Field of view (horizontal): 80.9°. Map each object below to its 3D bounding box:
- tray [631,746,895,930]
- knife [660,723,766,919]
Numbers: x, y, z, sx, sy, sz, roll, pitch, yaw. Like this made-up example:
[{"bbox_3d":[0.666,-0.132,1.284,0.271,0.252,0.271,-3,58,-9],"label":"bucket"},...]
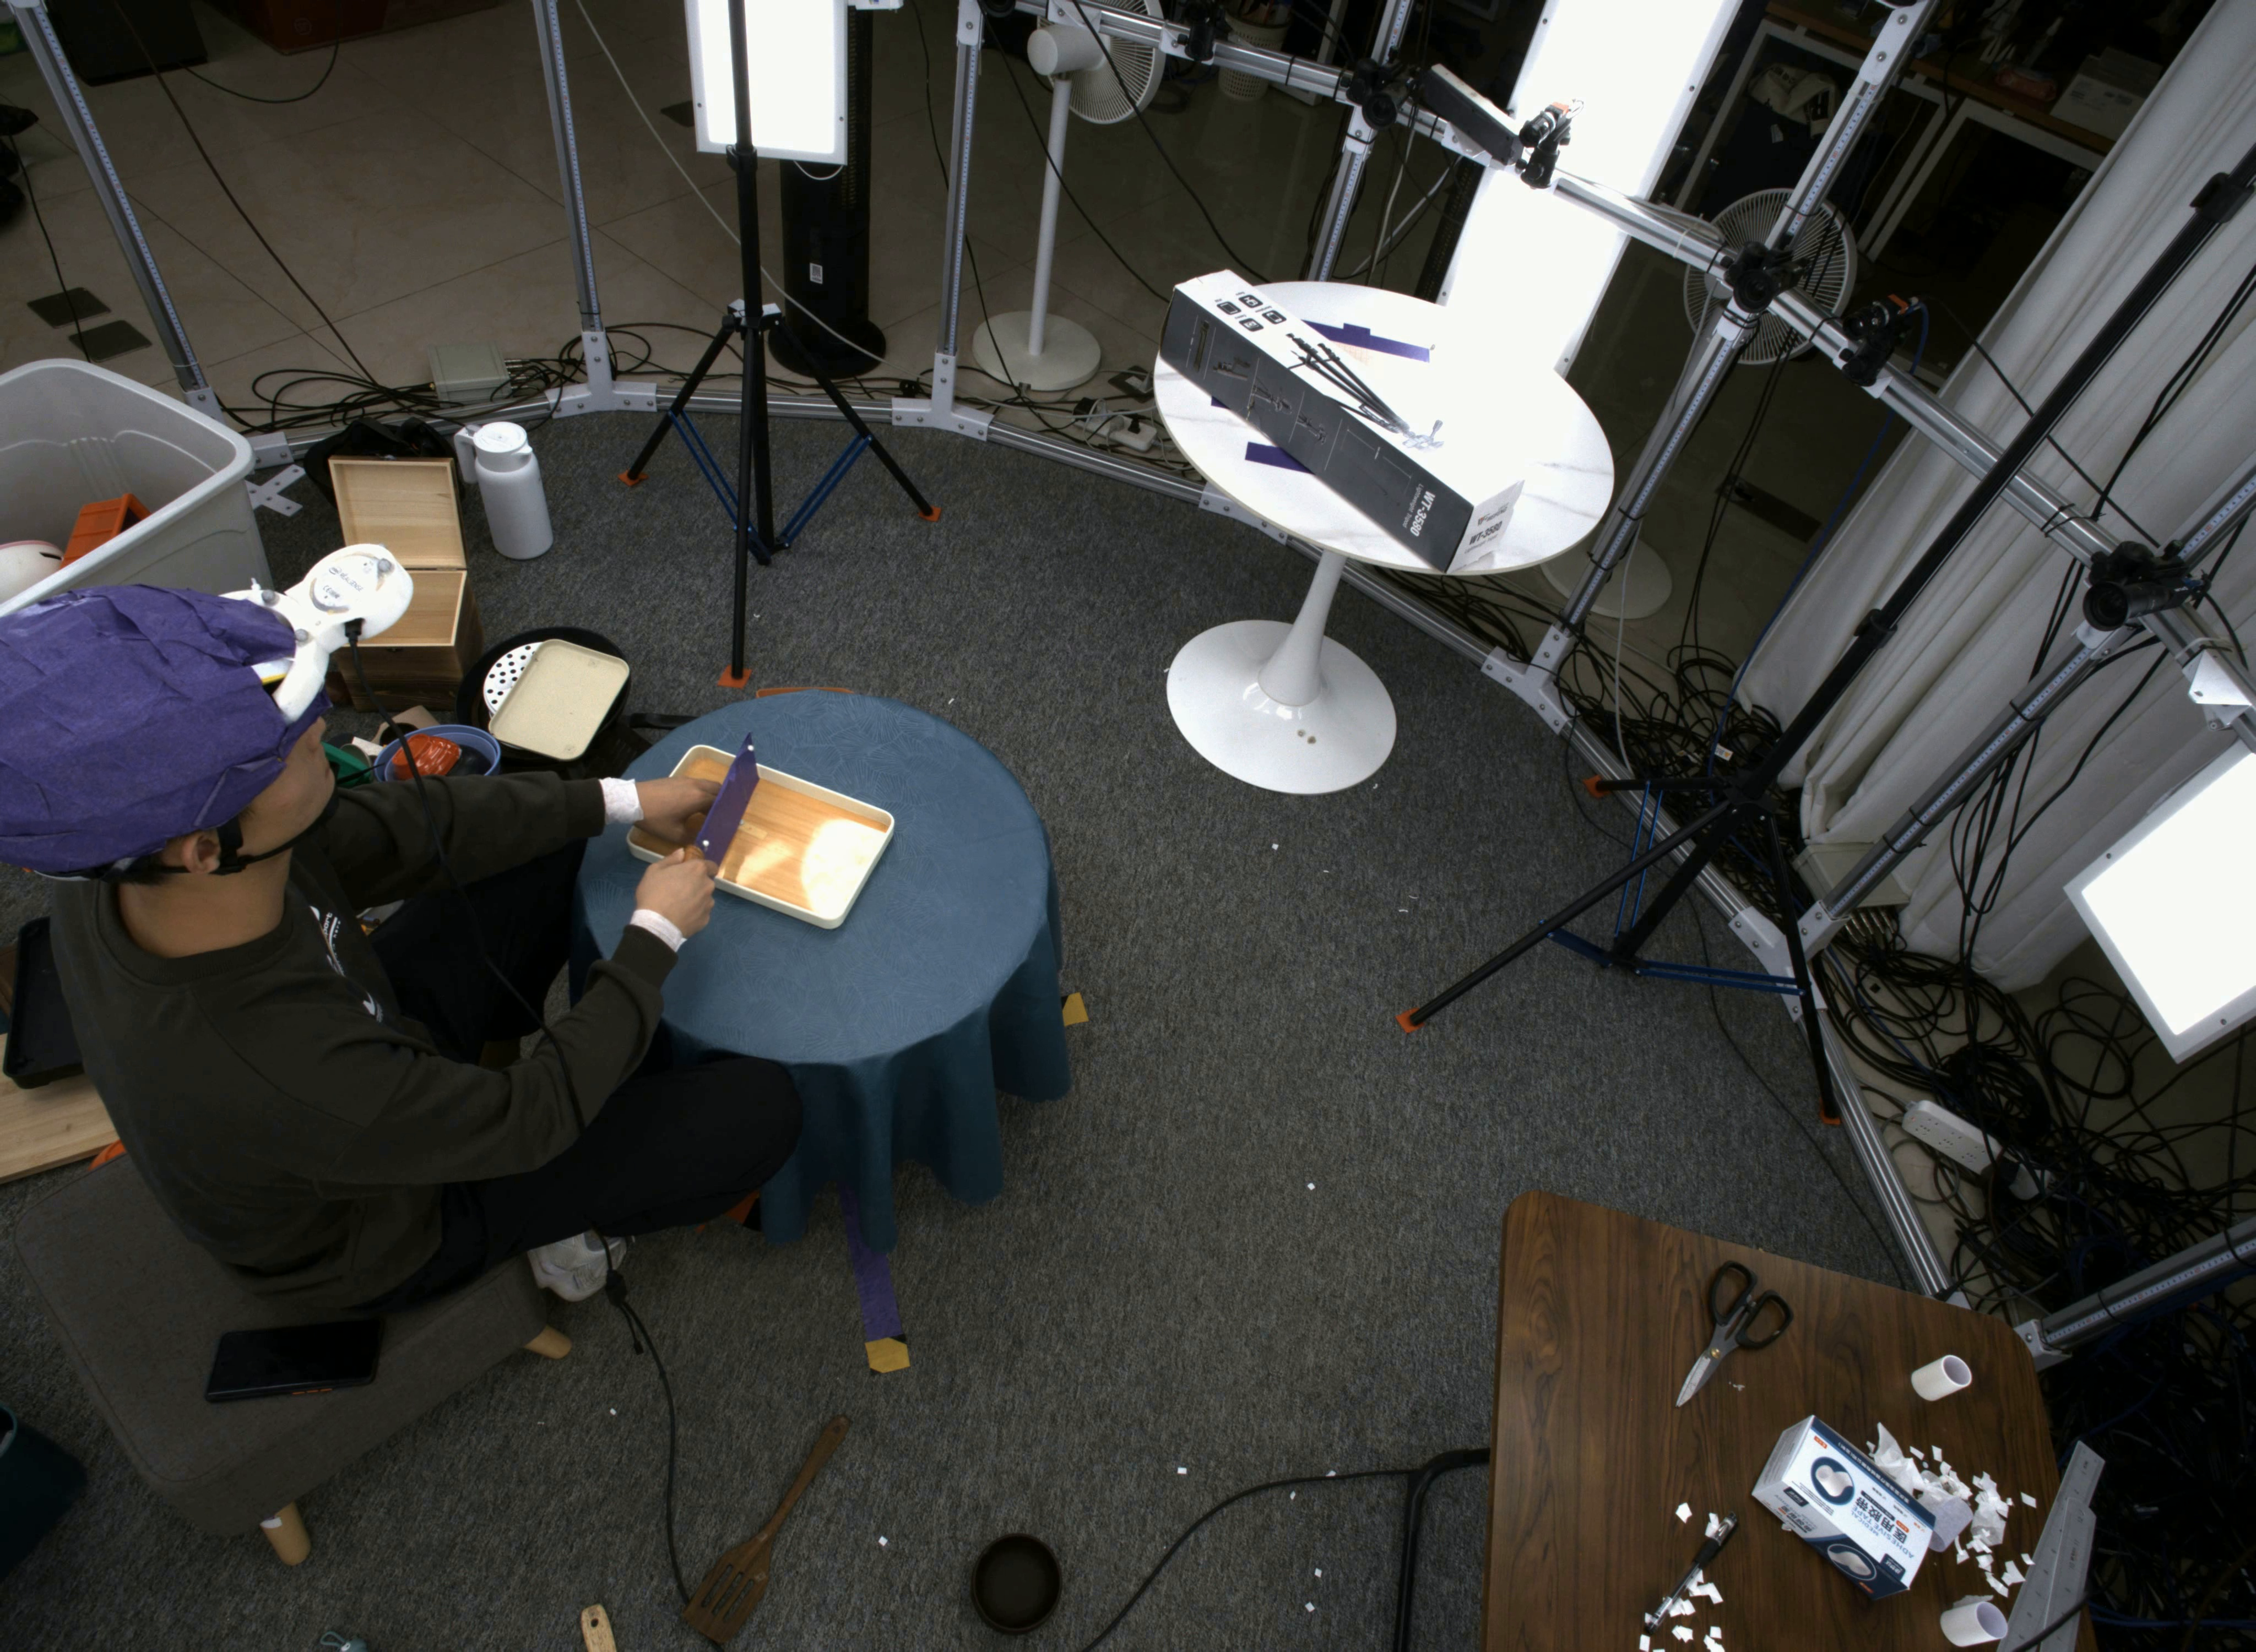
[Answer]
[{"bbox_3d":[-0.476,0.011,1.696,0.297,0.028,0.189,20,52,1],"label":"tray"},{"bbox_3d":[-0.509,0.009,1.618,0.032,0.107,0.310,7,46,5],"label":"knife"}]
